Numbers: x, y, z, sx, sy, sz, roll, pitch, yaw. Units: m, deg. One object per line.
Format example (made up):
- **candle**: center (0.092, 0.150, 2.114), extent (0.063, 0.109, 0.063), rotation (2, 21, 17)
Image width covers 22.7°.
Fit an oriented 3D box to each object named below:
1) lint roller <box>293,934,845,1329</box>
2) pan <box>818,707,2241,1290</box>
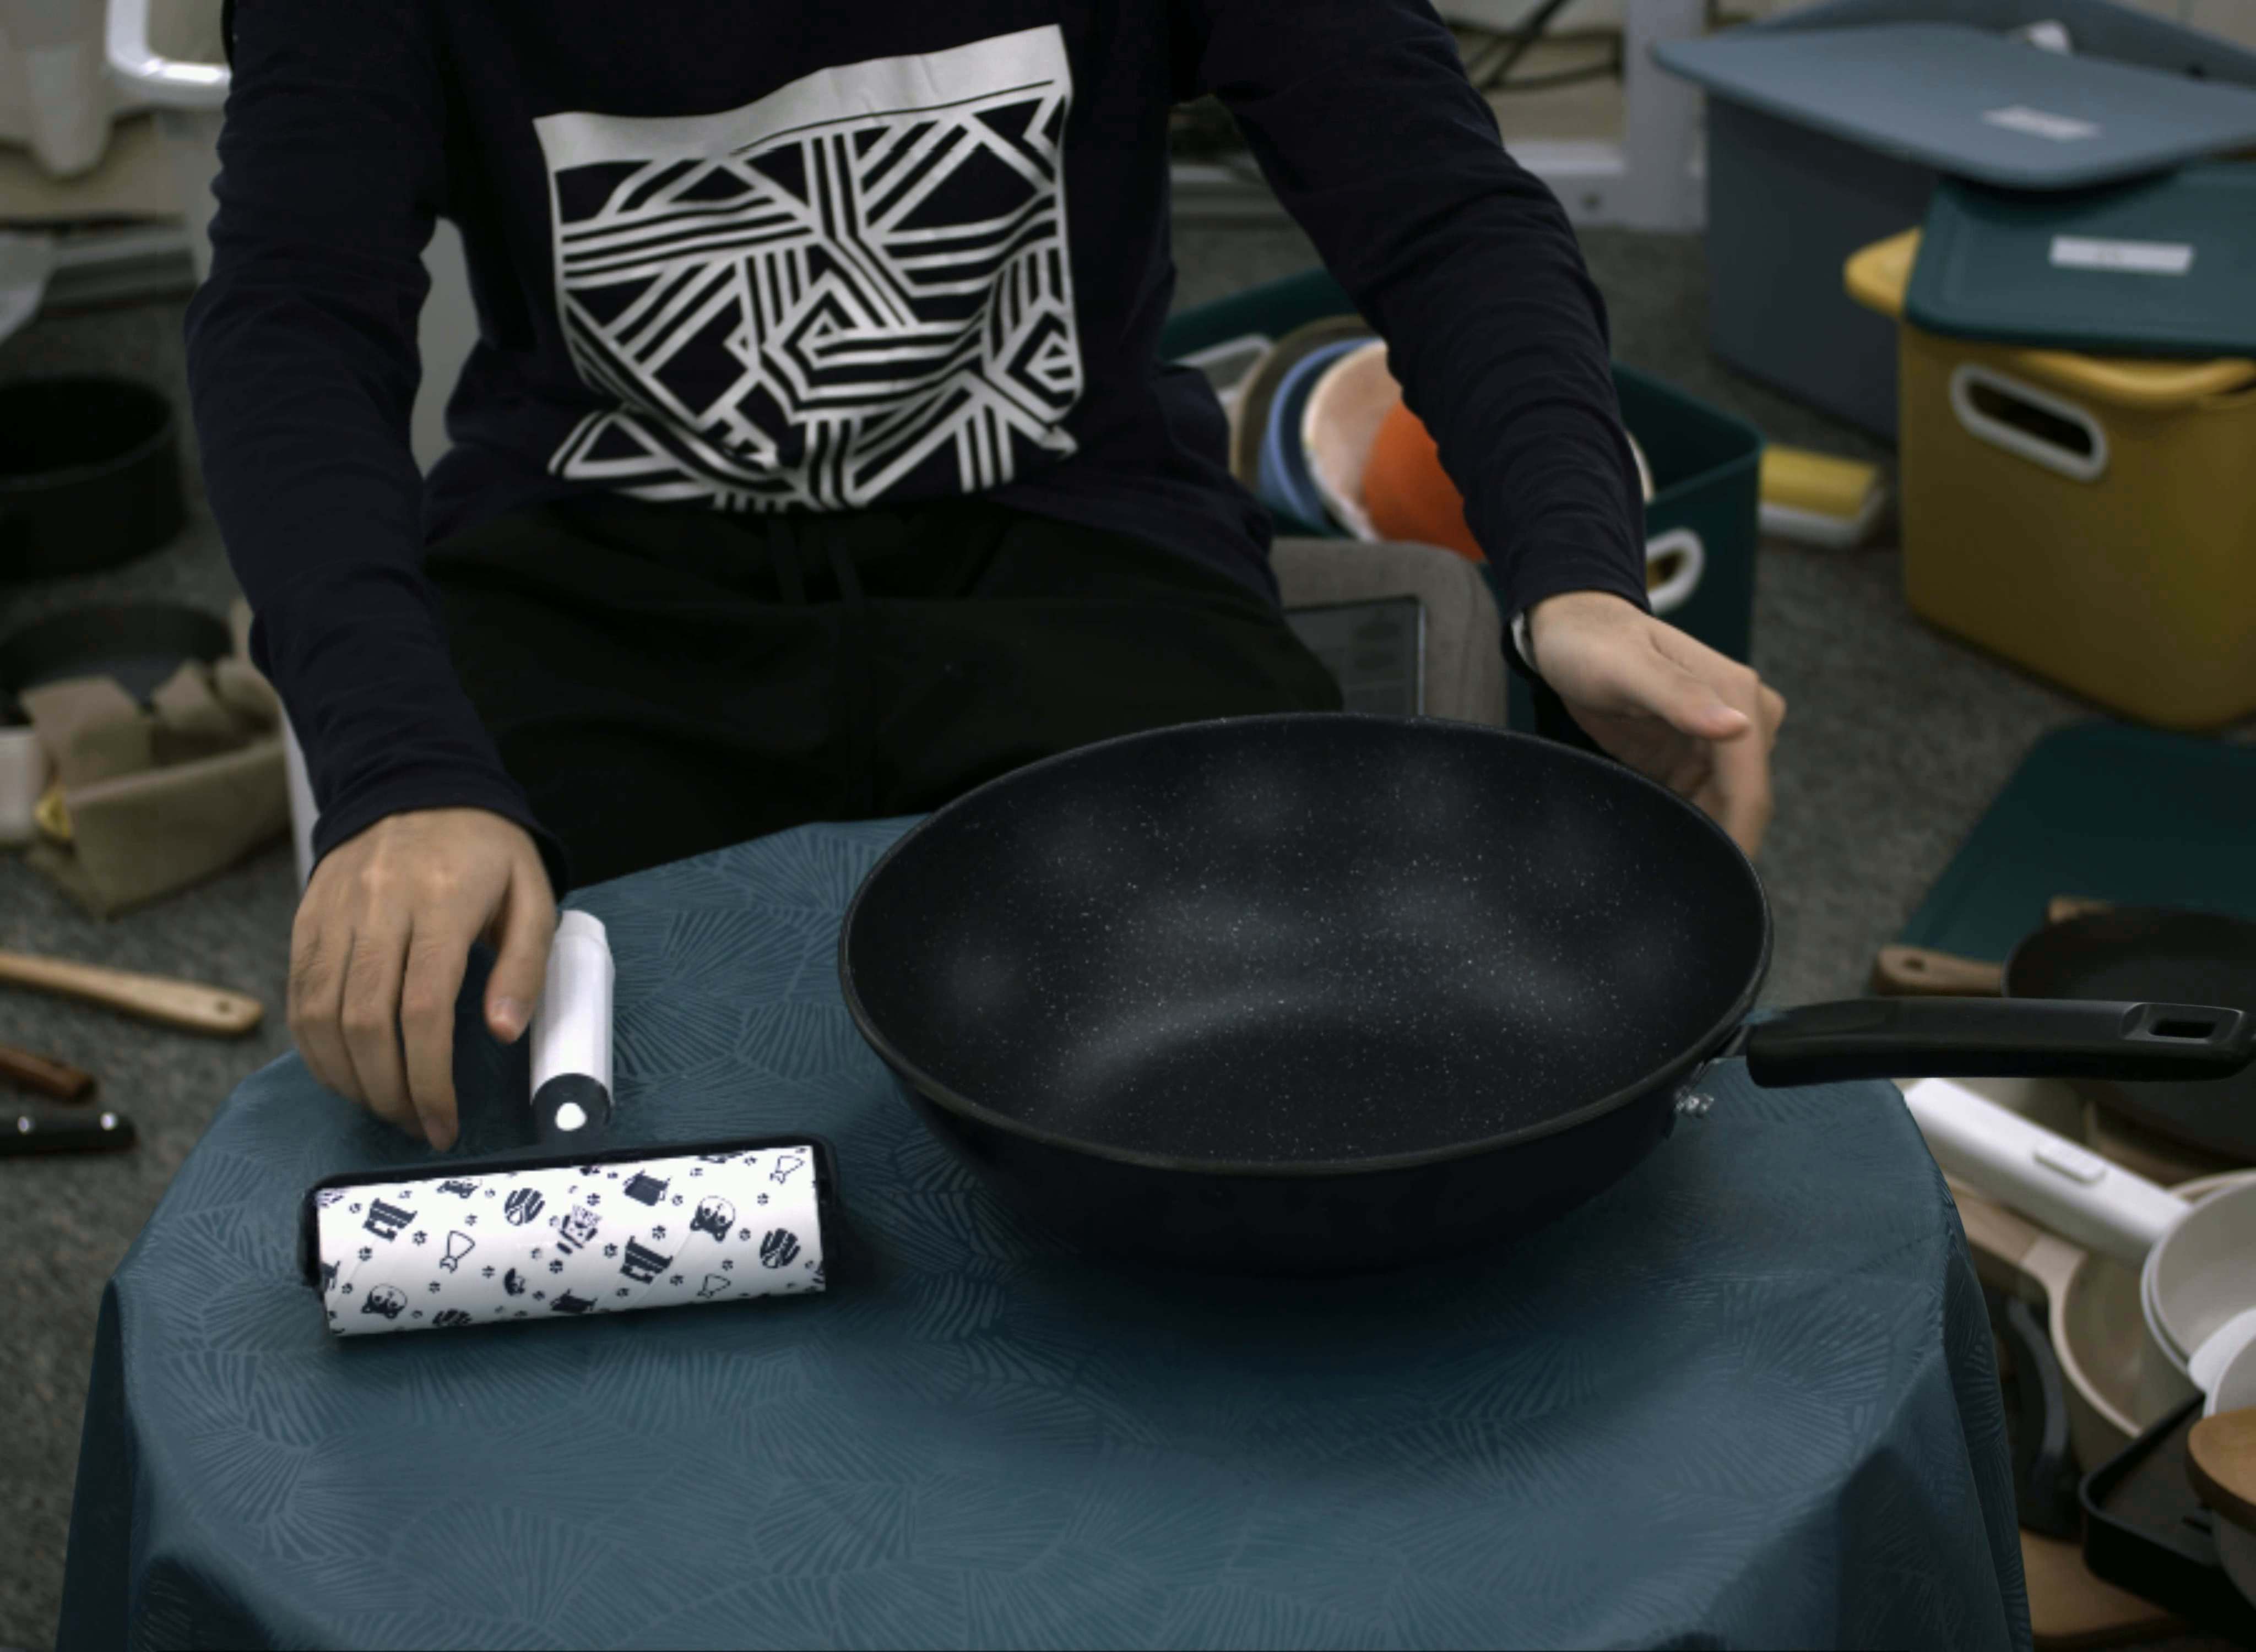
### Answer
- **lint roller**: center (-0.190, 0.090, 1.896), extent (0.176, 0.050, 0.250), rotation (-6, 25, -4)
- **pan**: center (0.127, 0.072, 1.830), extent (0.474, 0.110, 0.315), rotation (10, 31, 24)
